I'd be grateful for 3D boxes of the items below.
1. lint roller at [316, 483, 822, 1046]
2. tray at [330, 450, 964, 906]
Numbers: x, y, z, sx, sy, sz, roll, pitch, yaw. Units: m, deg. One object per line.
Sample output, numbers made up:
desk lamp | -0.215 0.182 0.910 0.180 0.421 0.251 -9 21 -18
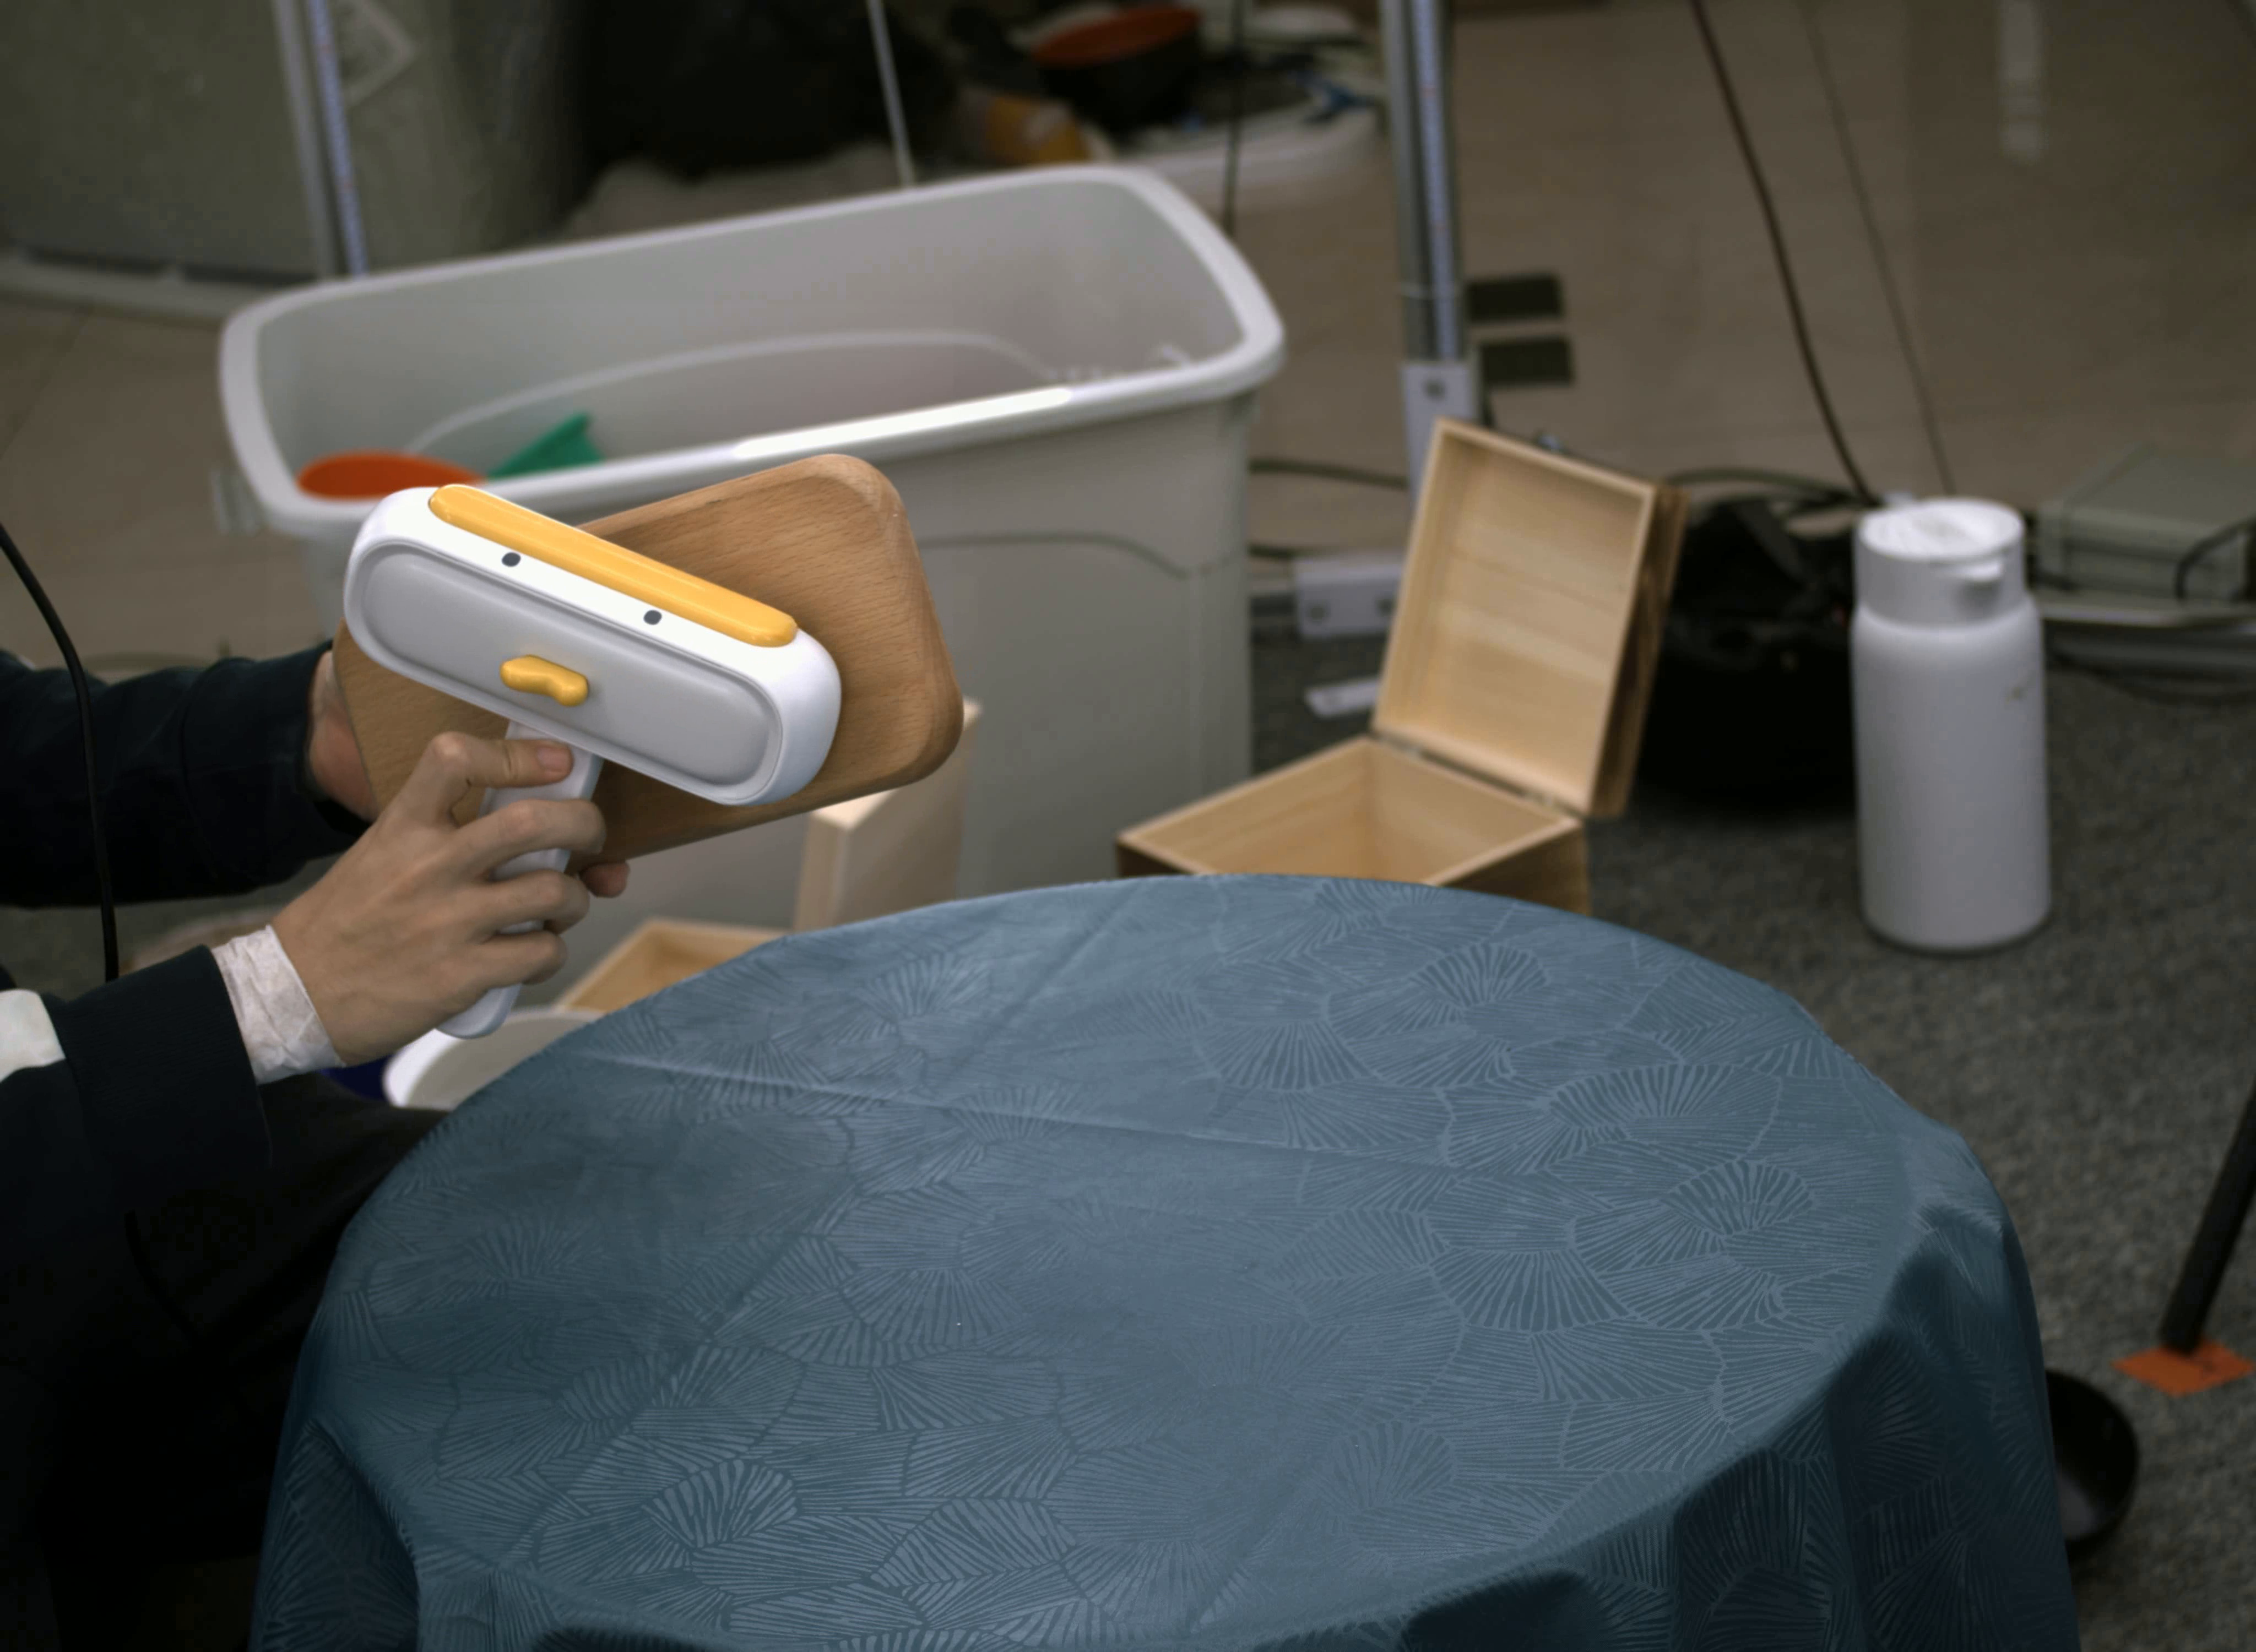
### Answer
lint roller | -0.219 -0.014 2.086 0.192 0.195 0.073 16 22 6
tray | -0.184 -0.053 2.119 0.251 0.131 0.023 -16 4 24
